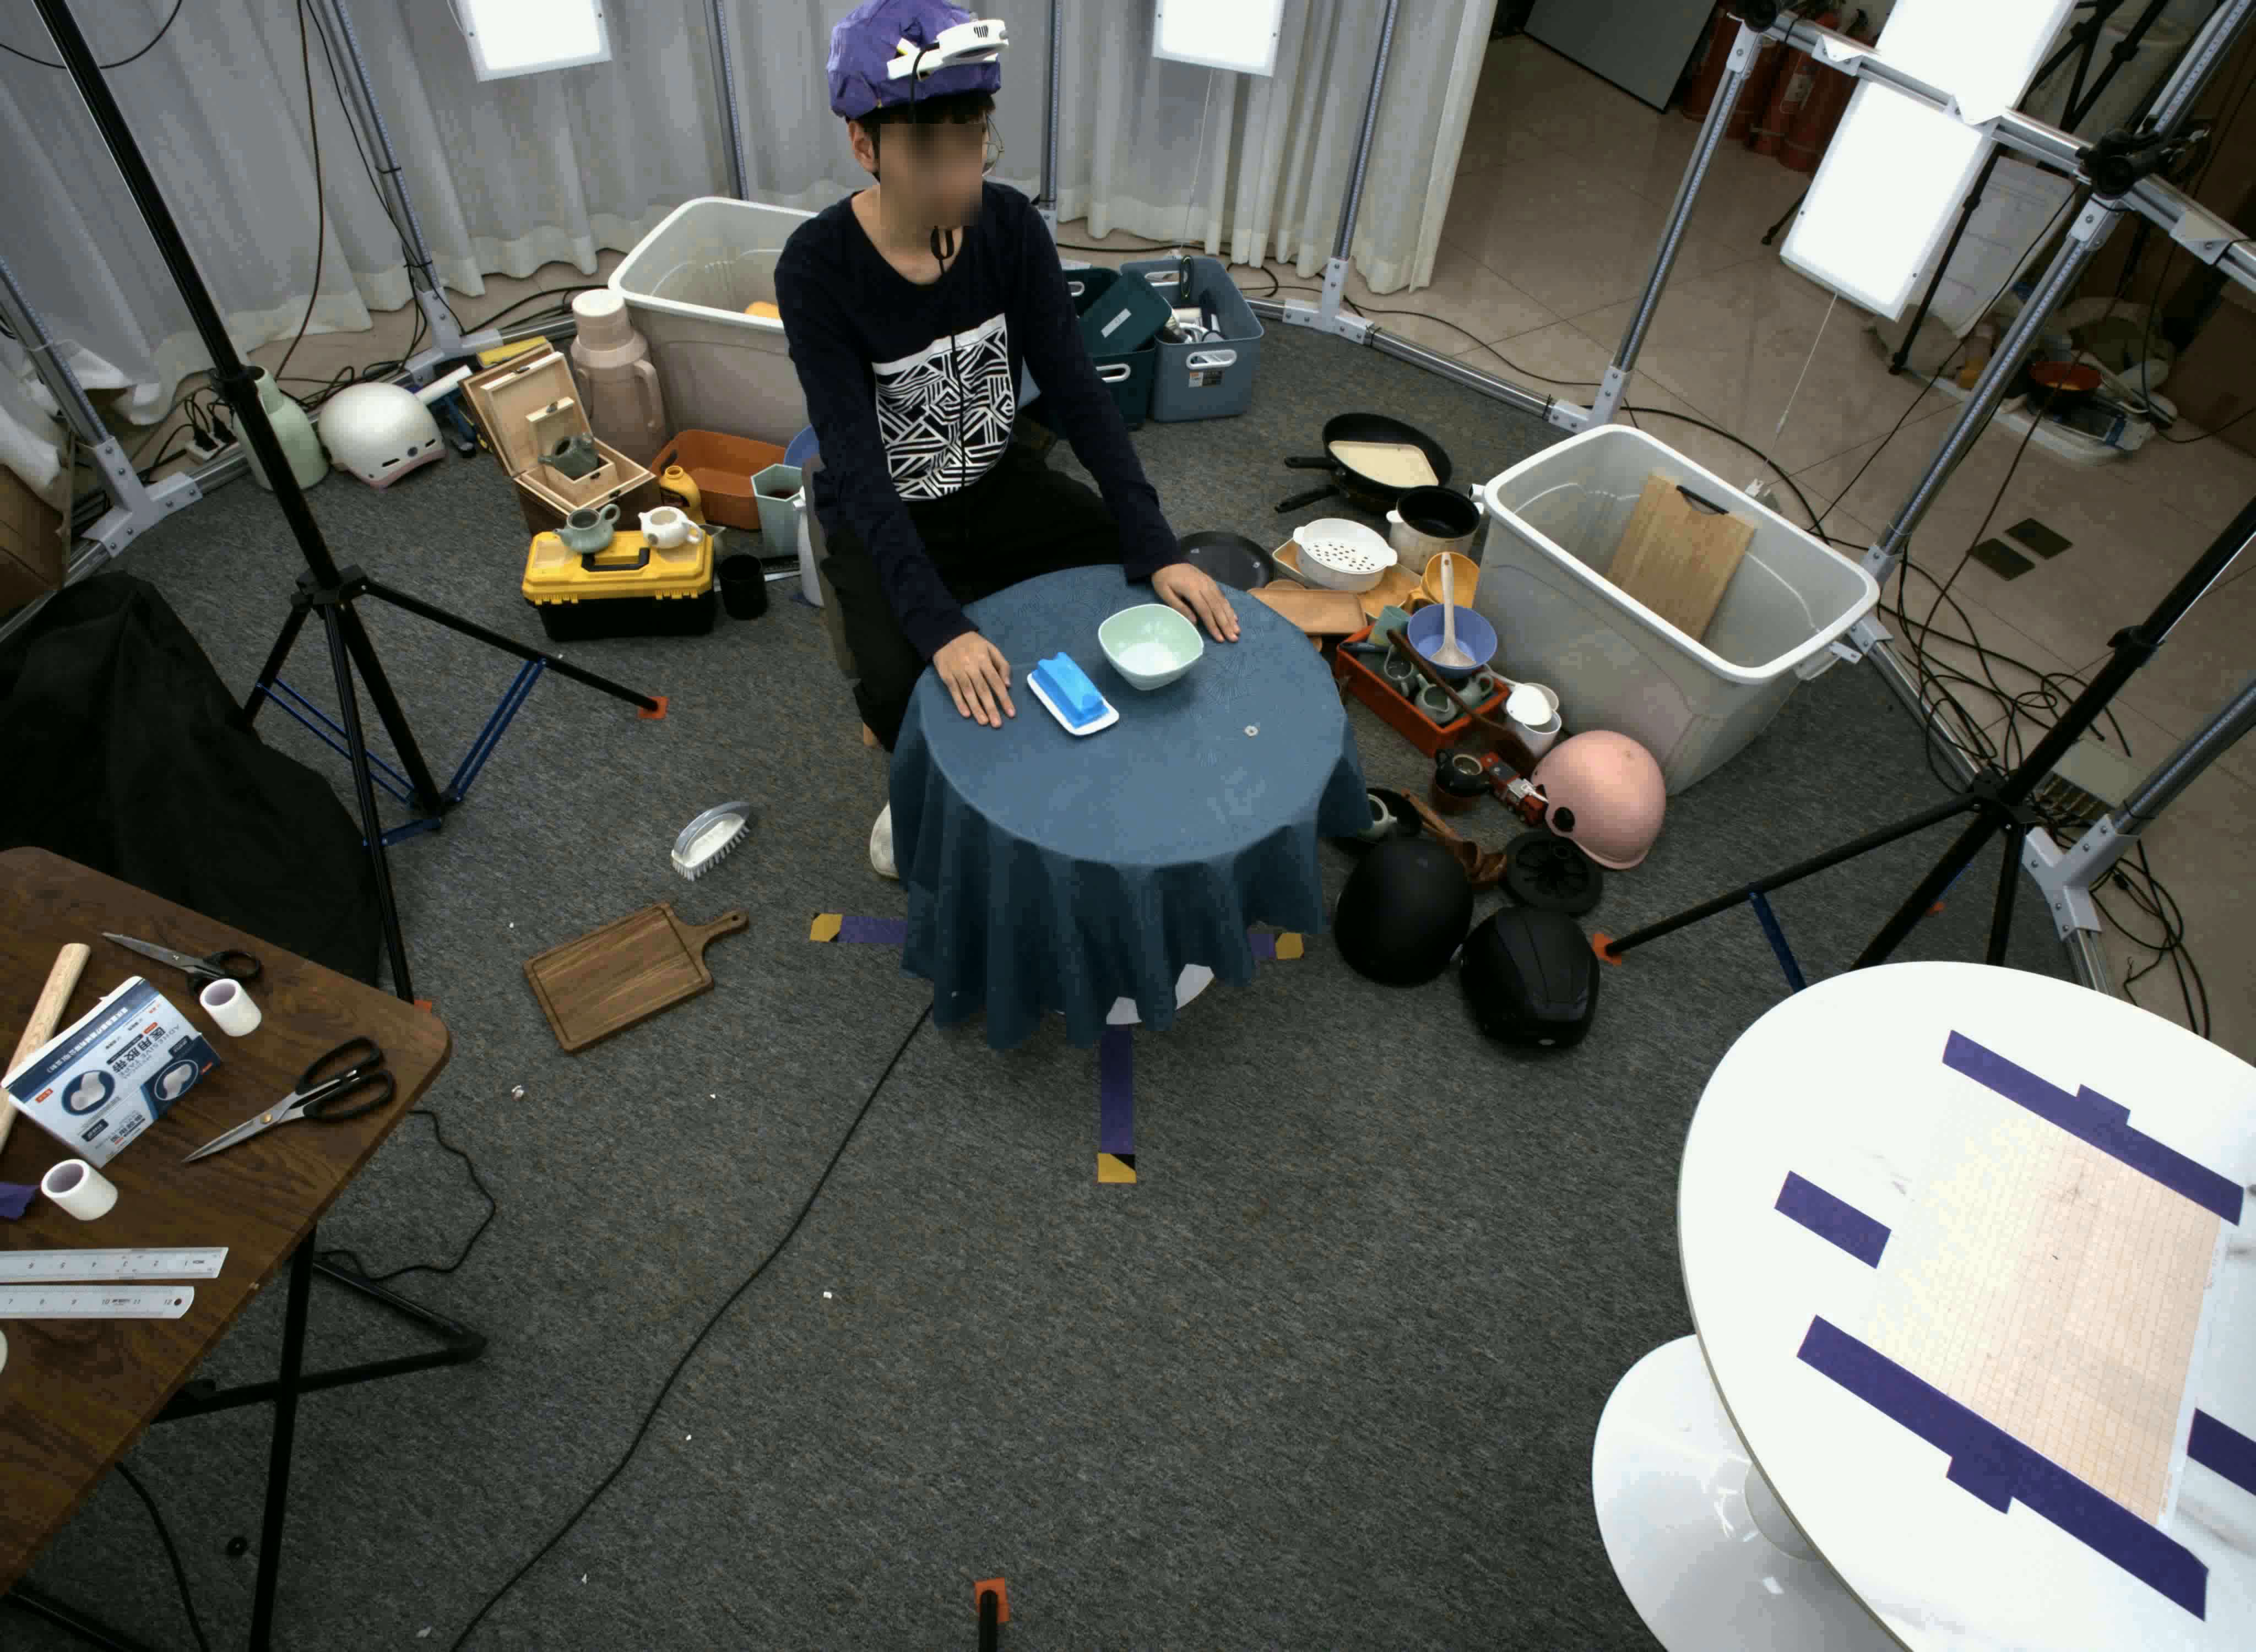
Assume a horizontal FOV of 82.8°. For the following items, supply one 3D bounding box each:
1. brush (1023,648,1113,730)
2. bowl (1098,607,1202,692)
[{"bbox_3d":[-0.082,-0.198,1.795,0.084,0.054,0.147,-20,54,-25],"label":"brush"},{"bbox_3d":[0.030,-0.247,1.849,0.151,0.057,0.155,3,47,-3],"label":"bowl"}]
